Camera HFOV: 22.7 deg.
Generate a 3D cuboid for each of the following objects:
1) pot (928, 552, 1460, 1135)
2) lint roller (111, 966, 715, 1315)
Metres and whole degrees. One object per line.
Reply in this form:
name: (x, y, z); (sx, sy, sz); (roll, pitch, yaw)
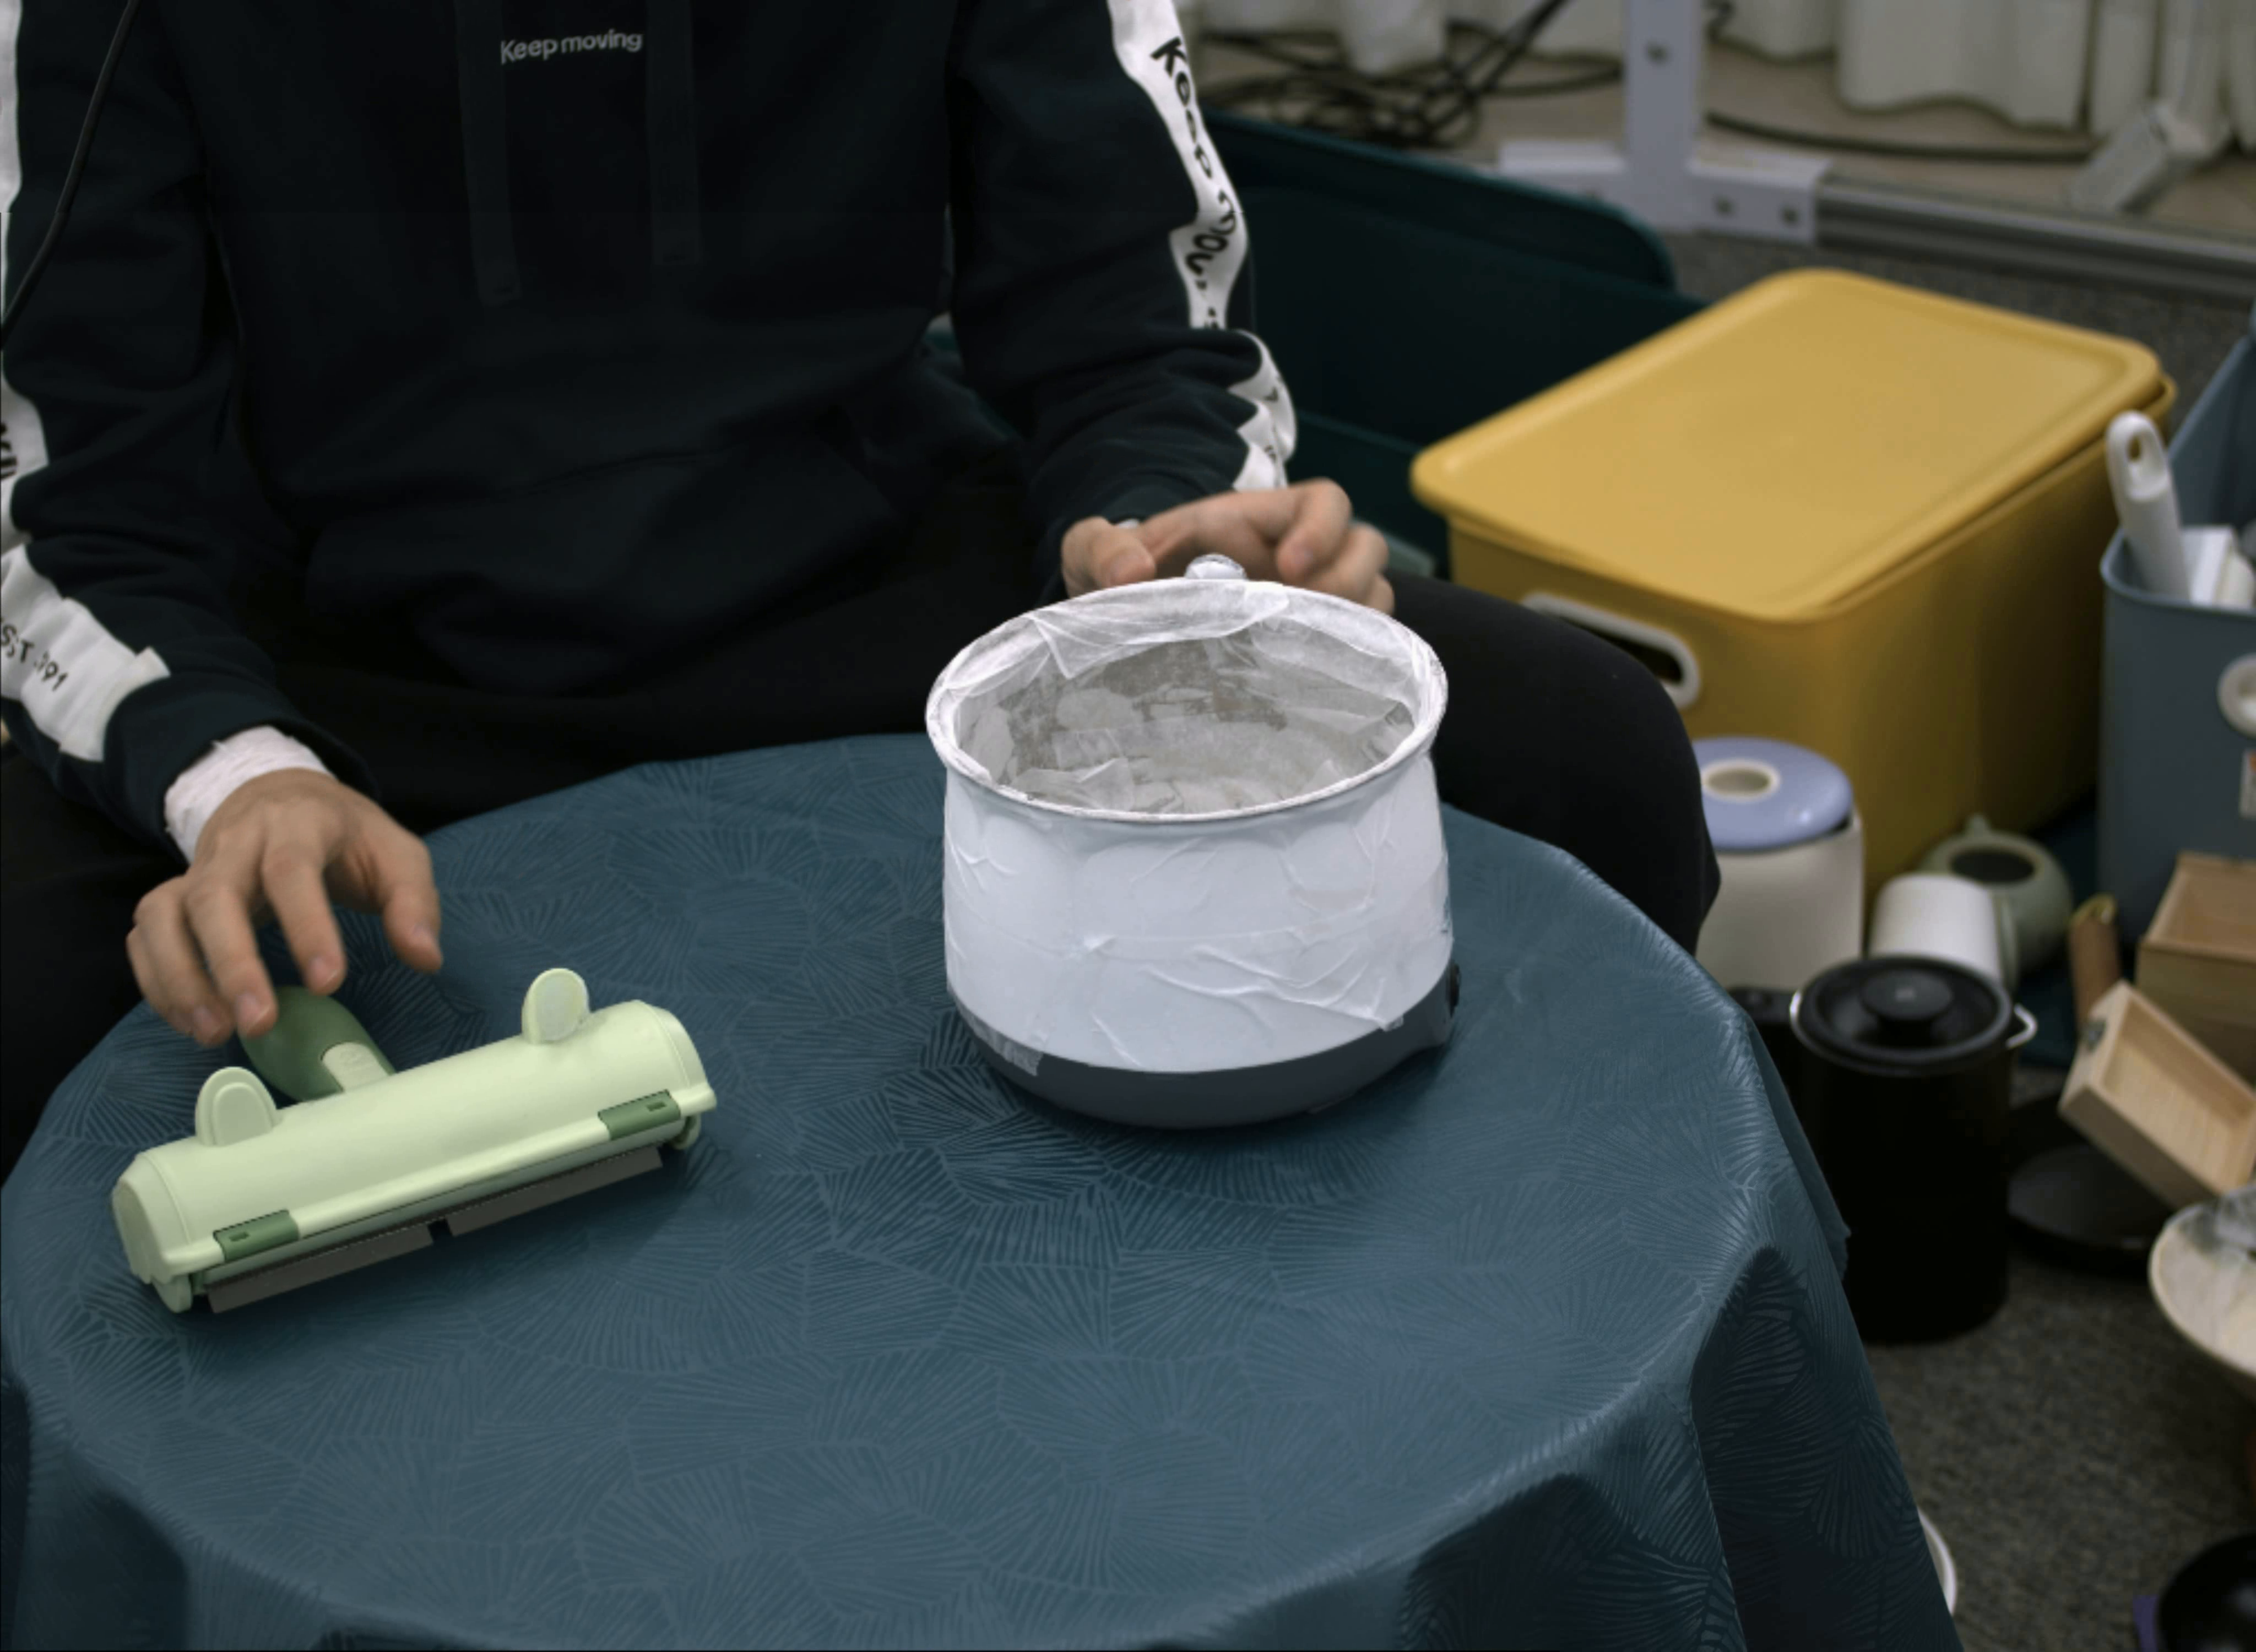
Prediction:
pot: (0.026, -0.001, 1.946); (0.177, 0.135, 0.237); (0, 28, 5)
lint roller: (-0.262, 0.078, 1.890); (0.200, 0.081, 0.184); (-17, 35, -24)
